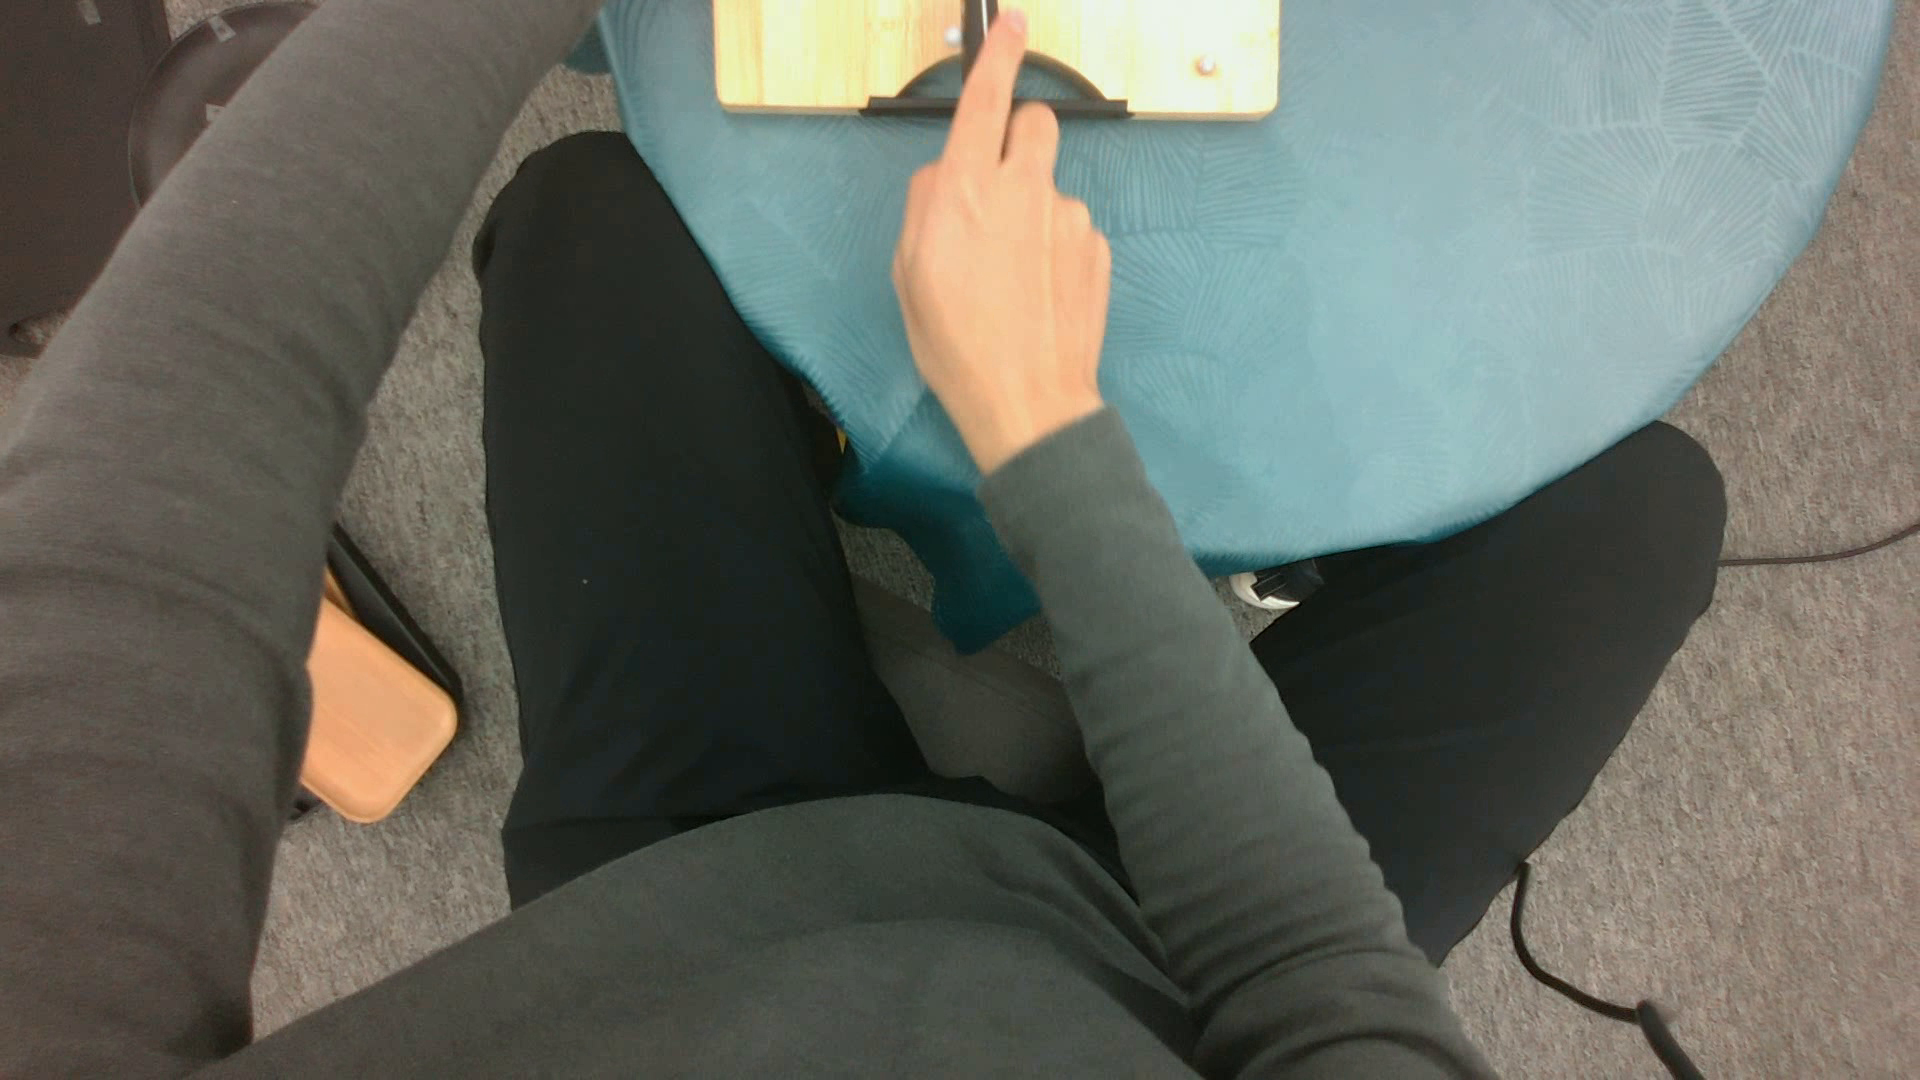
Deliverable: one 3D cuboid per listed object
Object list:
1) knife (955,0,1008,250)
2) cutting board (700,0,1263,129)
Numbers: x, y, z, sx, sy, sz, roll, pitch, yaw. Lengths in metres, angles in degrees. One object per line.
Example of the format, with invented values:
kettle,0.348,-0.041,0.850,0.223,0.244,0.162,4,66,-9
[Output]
knife,0.005,-0.237,0.561,0.016,0.024,0.238,-3,86,-12
cutting board,0.011,-0.353,0.583,0.251,0.023,0.348,-2,95,-5
